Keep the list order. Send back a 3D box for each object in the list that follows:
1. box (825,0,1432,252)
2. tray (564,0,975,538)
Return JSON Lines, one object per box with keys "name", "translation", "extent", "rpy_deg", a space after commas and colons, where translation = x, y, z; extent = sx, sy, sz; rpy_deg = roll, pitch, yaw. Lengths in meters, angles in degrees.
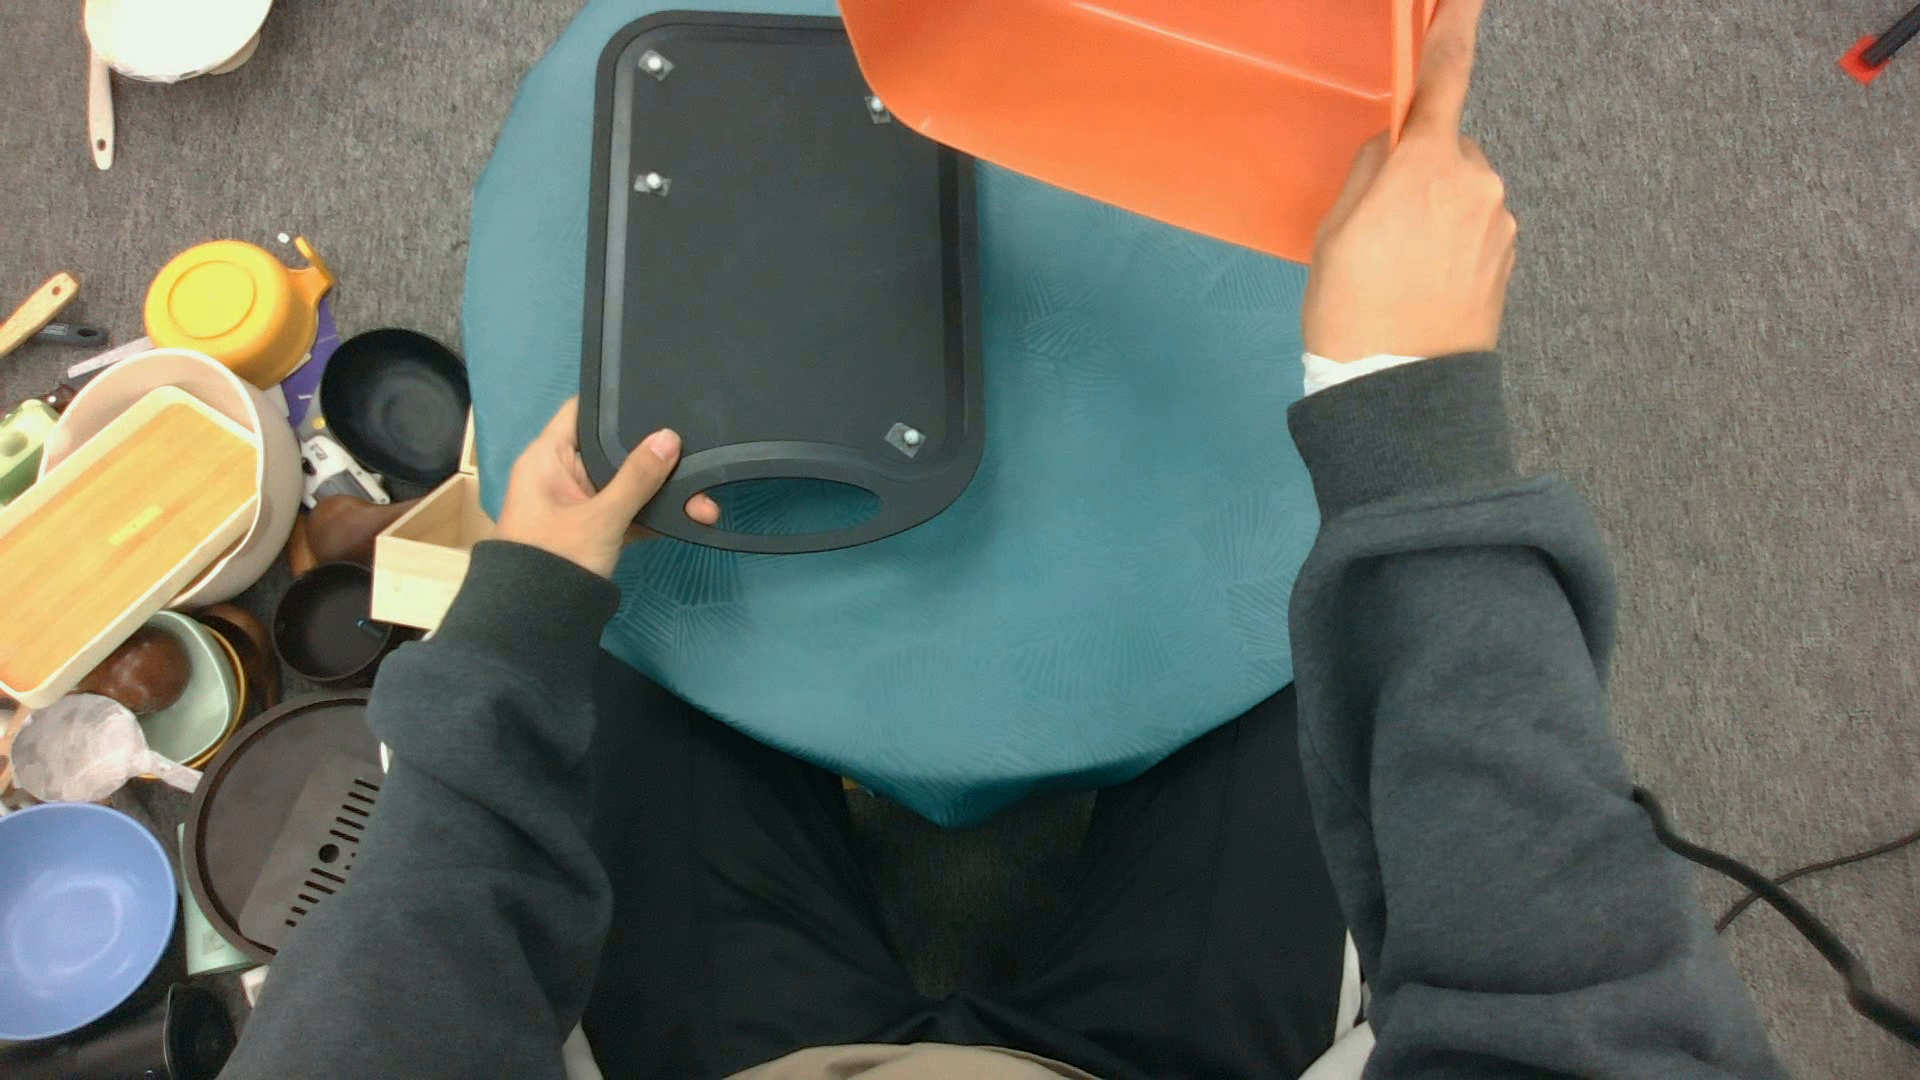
{"name": "box", "translation": [0.068, -0.252, 0.584], "extent": [0.273, 0.199, 0.103], "rpy_deg": [26, 68, 24]}
{"name": "tray", "translation": [-0.100, -0.156, 0.738], "extent": [0.211, 0.010, 0.326], "rpy_deg": [-1, 71, -6]}
